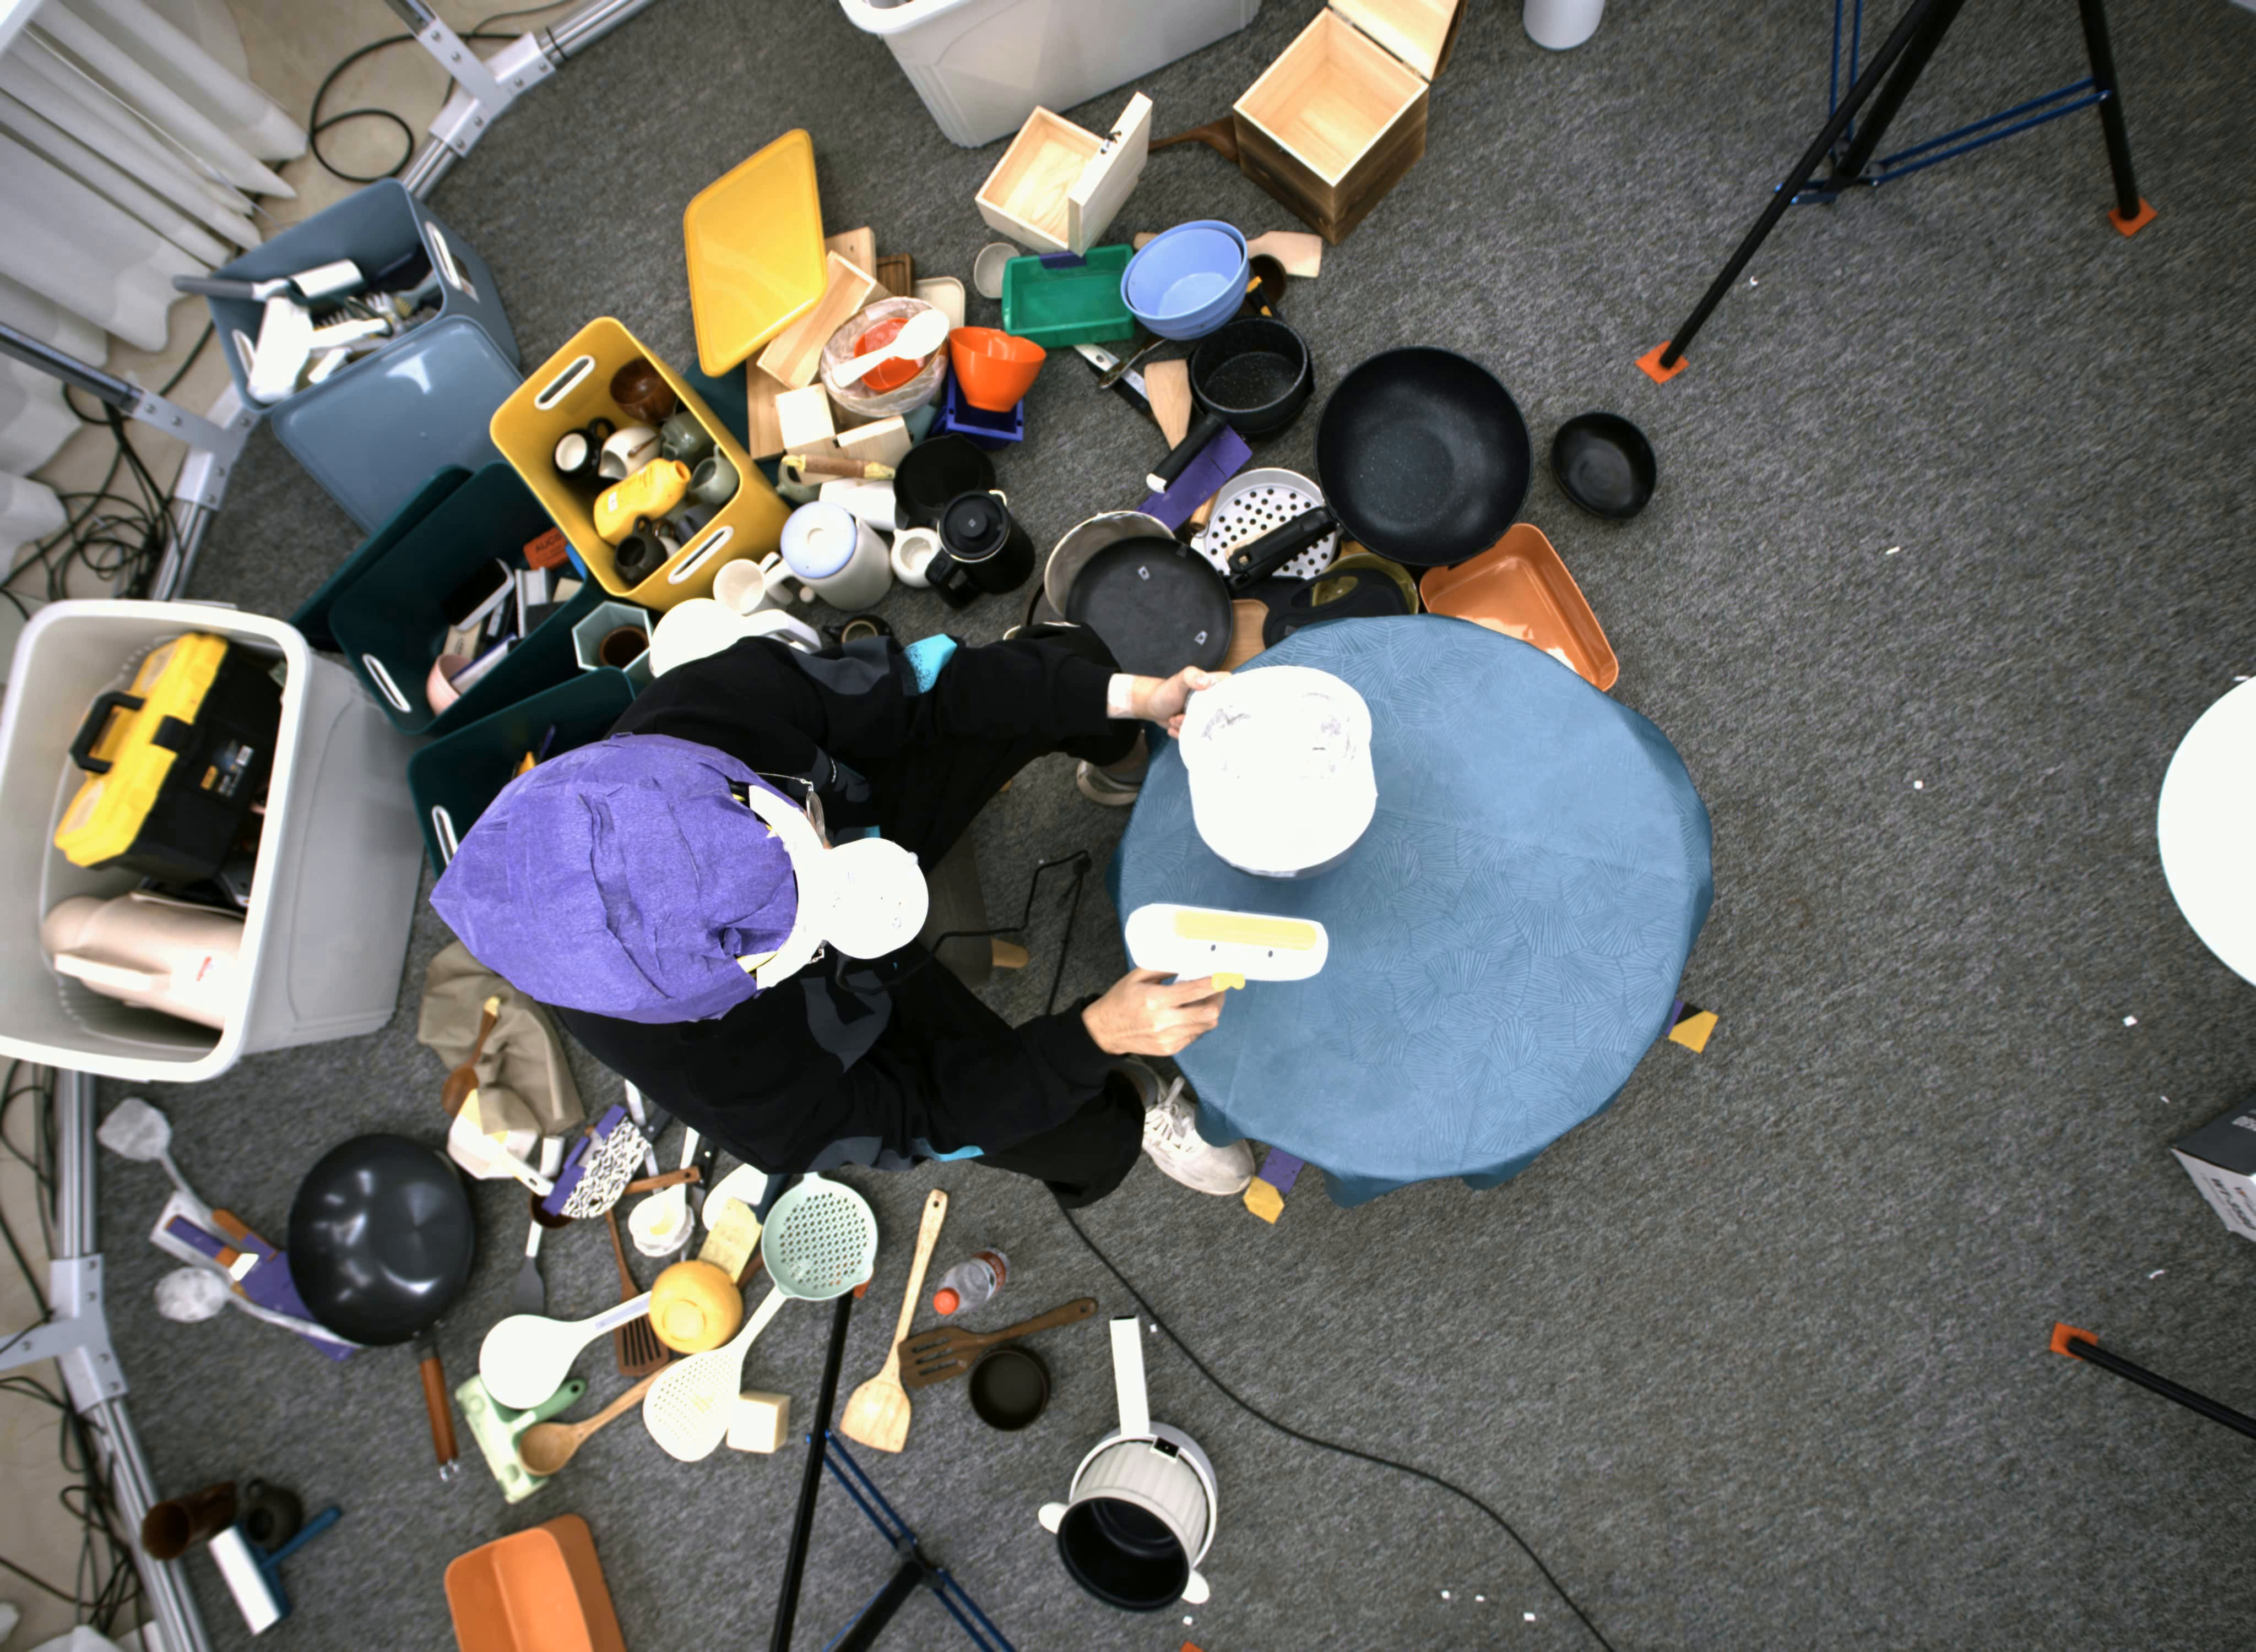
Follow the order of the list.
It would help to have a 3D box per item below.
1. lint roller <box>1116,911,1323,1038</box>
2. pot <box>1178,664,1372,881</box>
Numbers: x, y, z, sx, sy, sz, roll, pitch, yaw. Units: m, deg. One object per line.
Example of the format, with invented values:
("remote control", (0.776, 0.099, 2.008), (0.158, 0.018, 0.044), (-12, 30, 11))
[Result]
("lint roller", (0.066, 0.140, 1.297), (0.192, 0.197, 0.073), (0, 64, -22))
("pot", (0.126, -0.063, 1.325), (0.177, 0.140, 0.231), (-33, 52, -17))
